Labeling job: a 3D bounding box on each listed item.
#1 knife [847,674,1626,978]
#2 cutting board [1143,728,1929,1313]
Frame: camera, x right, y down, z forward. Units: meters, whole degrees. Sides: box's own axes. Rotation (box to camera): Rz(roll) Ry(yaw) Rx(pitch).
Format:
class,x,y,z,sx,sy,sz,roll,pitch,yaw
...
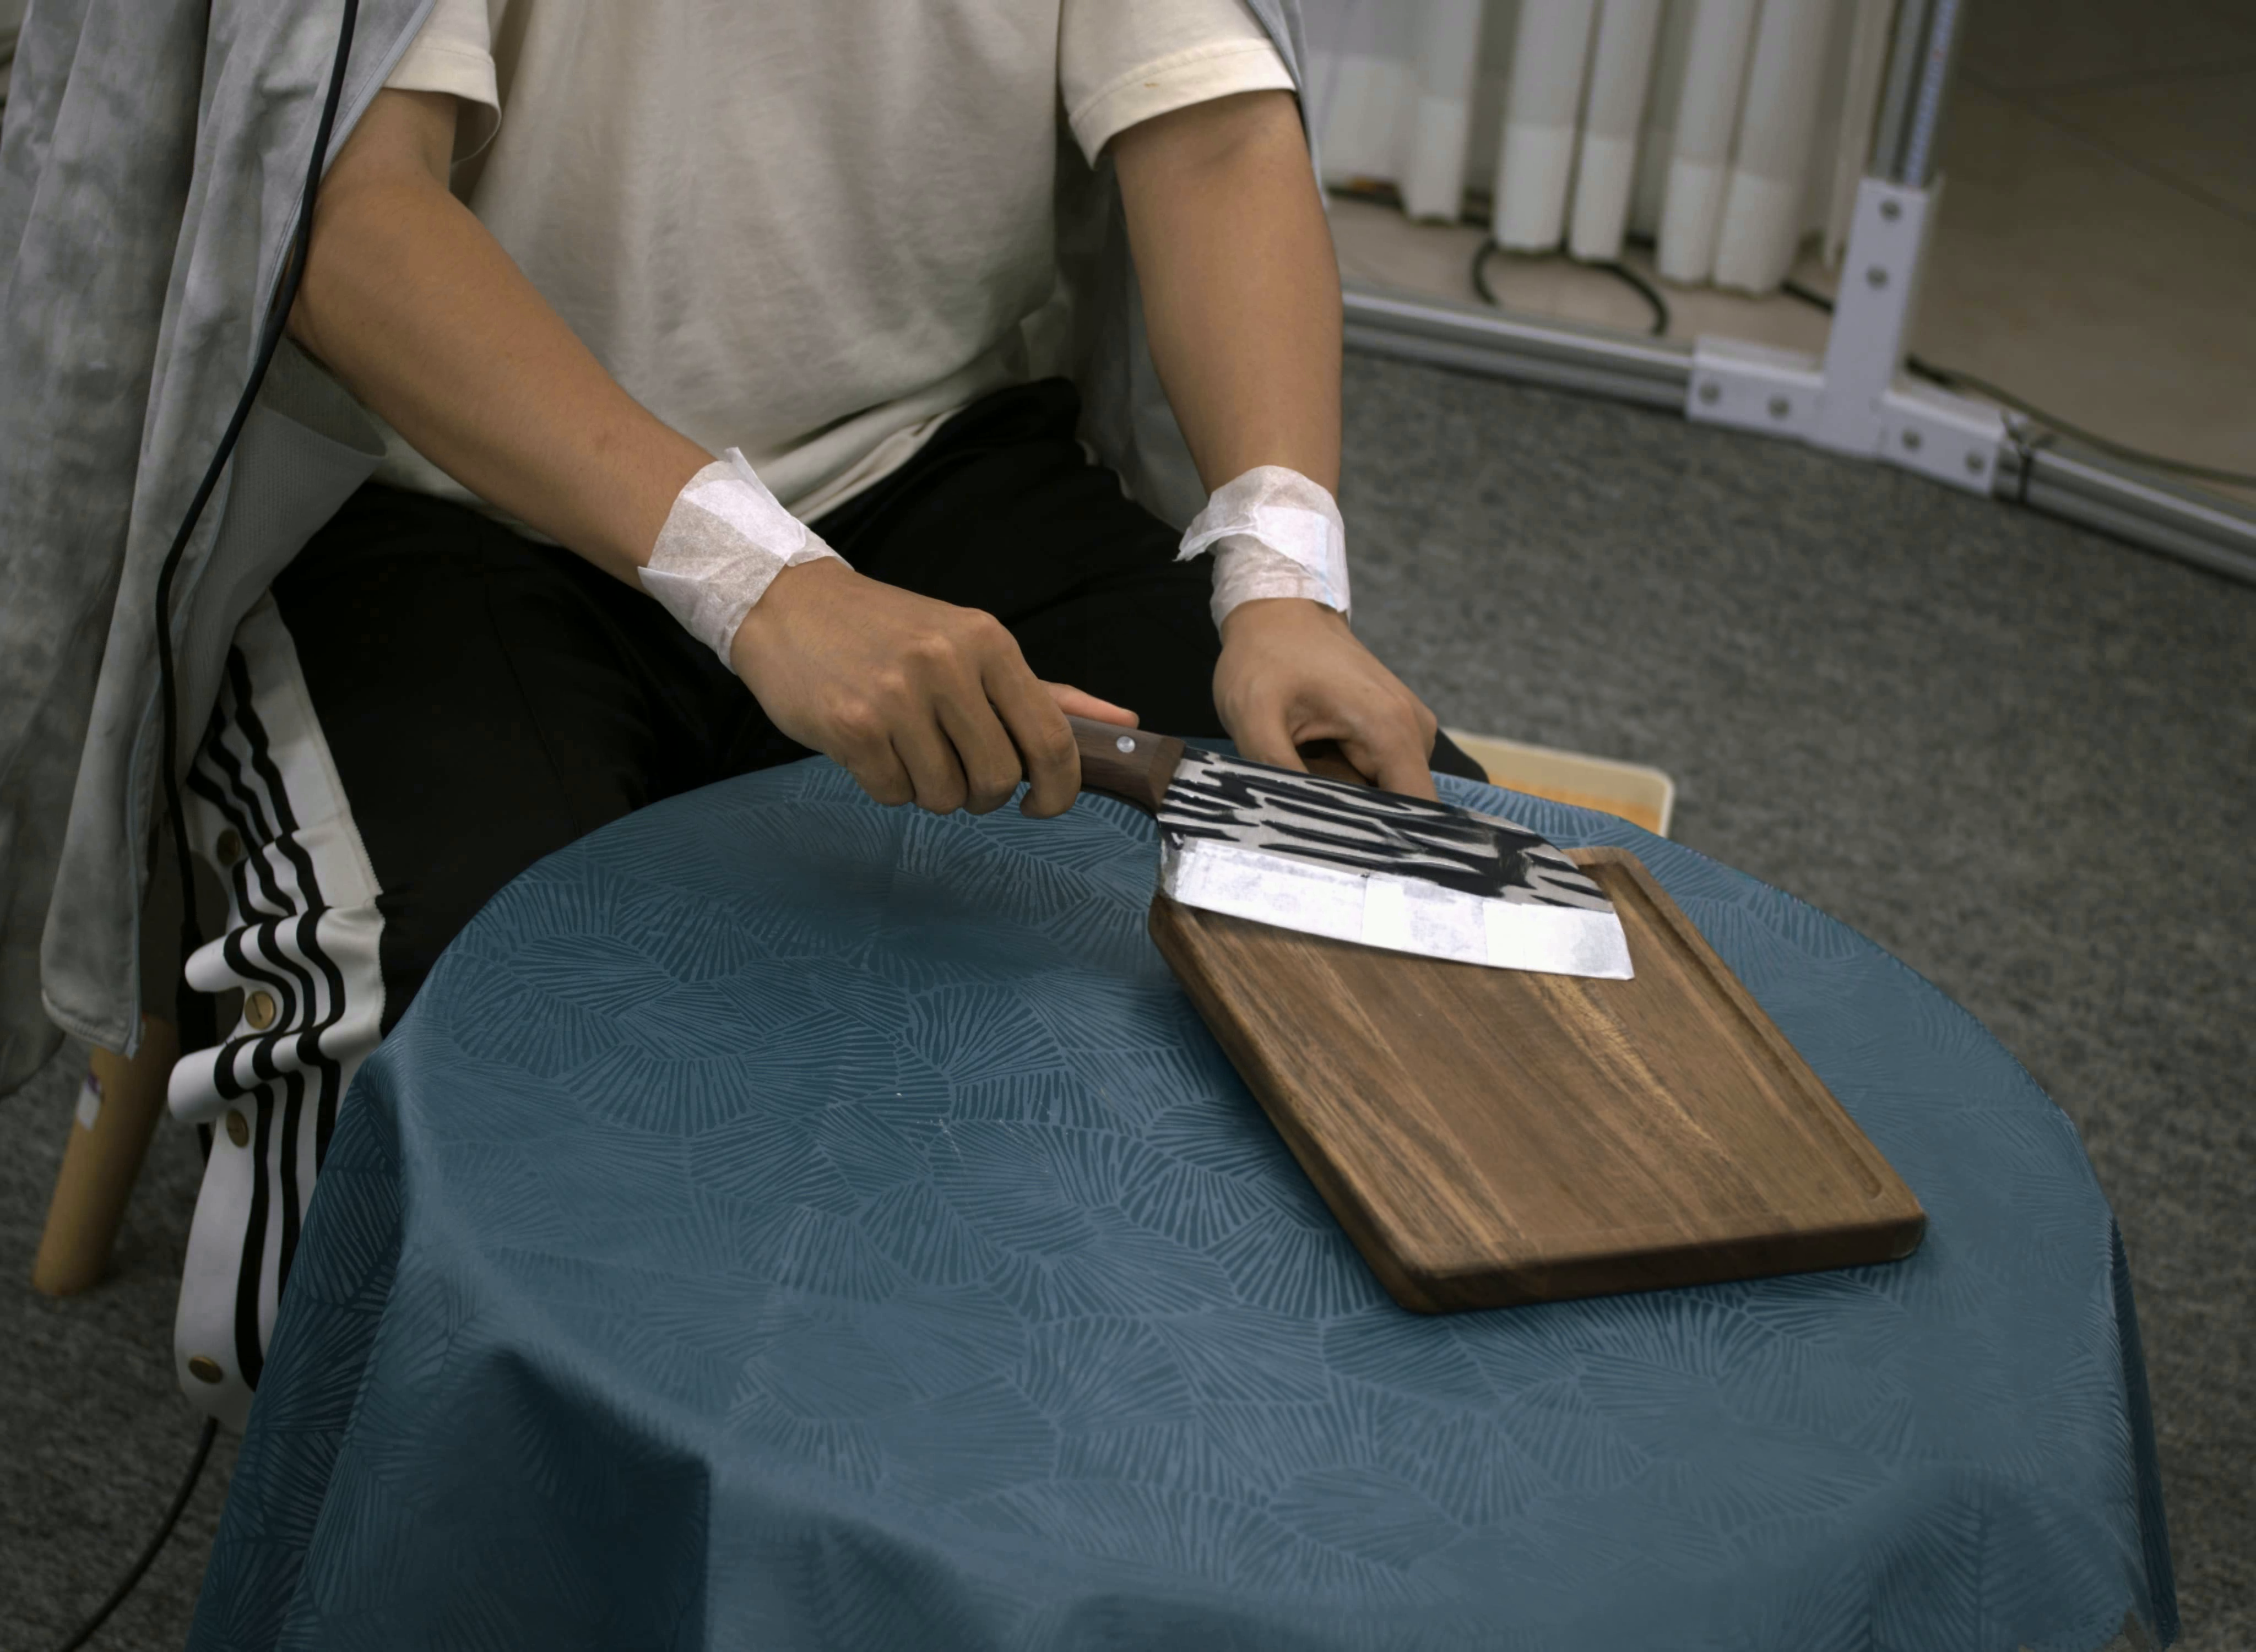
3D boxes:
class,x,y,z,sx,sy,sz,roll,pitch,yaw
knife,0.039,0.002,1.938,0.299,0.024,0.068,13,56,-1
cutting board,0.122,0.058,1.916,0.200,0.023,0.355,-5,32,-21
